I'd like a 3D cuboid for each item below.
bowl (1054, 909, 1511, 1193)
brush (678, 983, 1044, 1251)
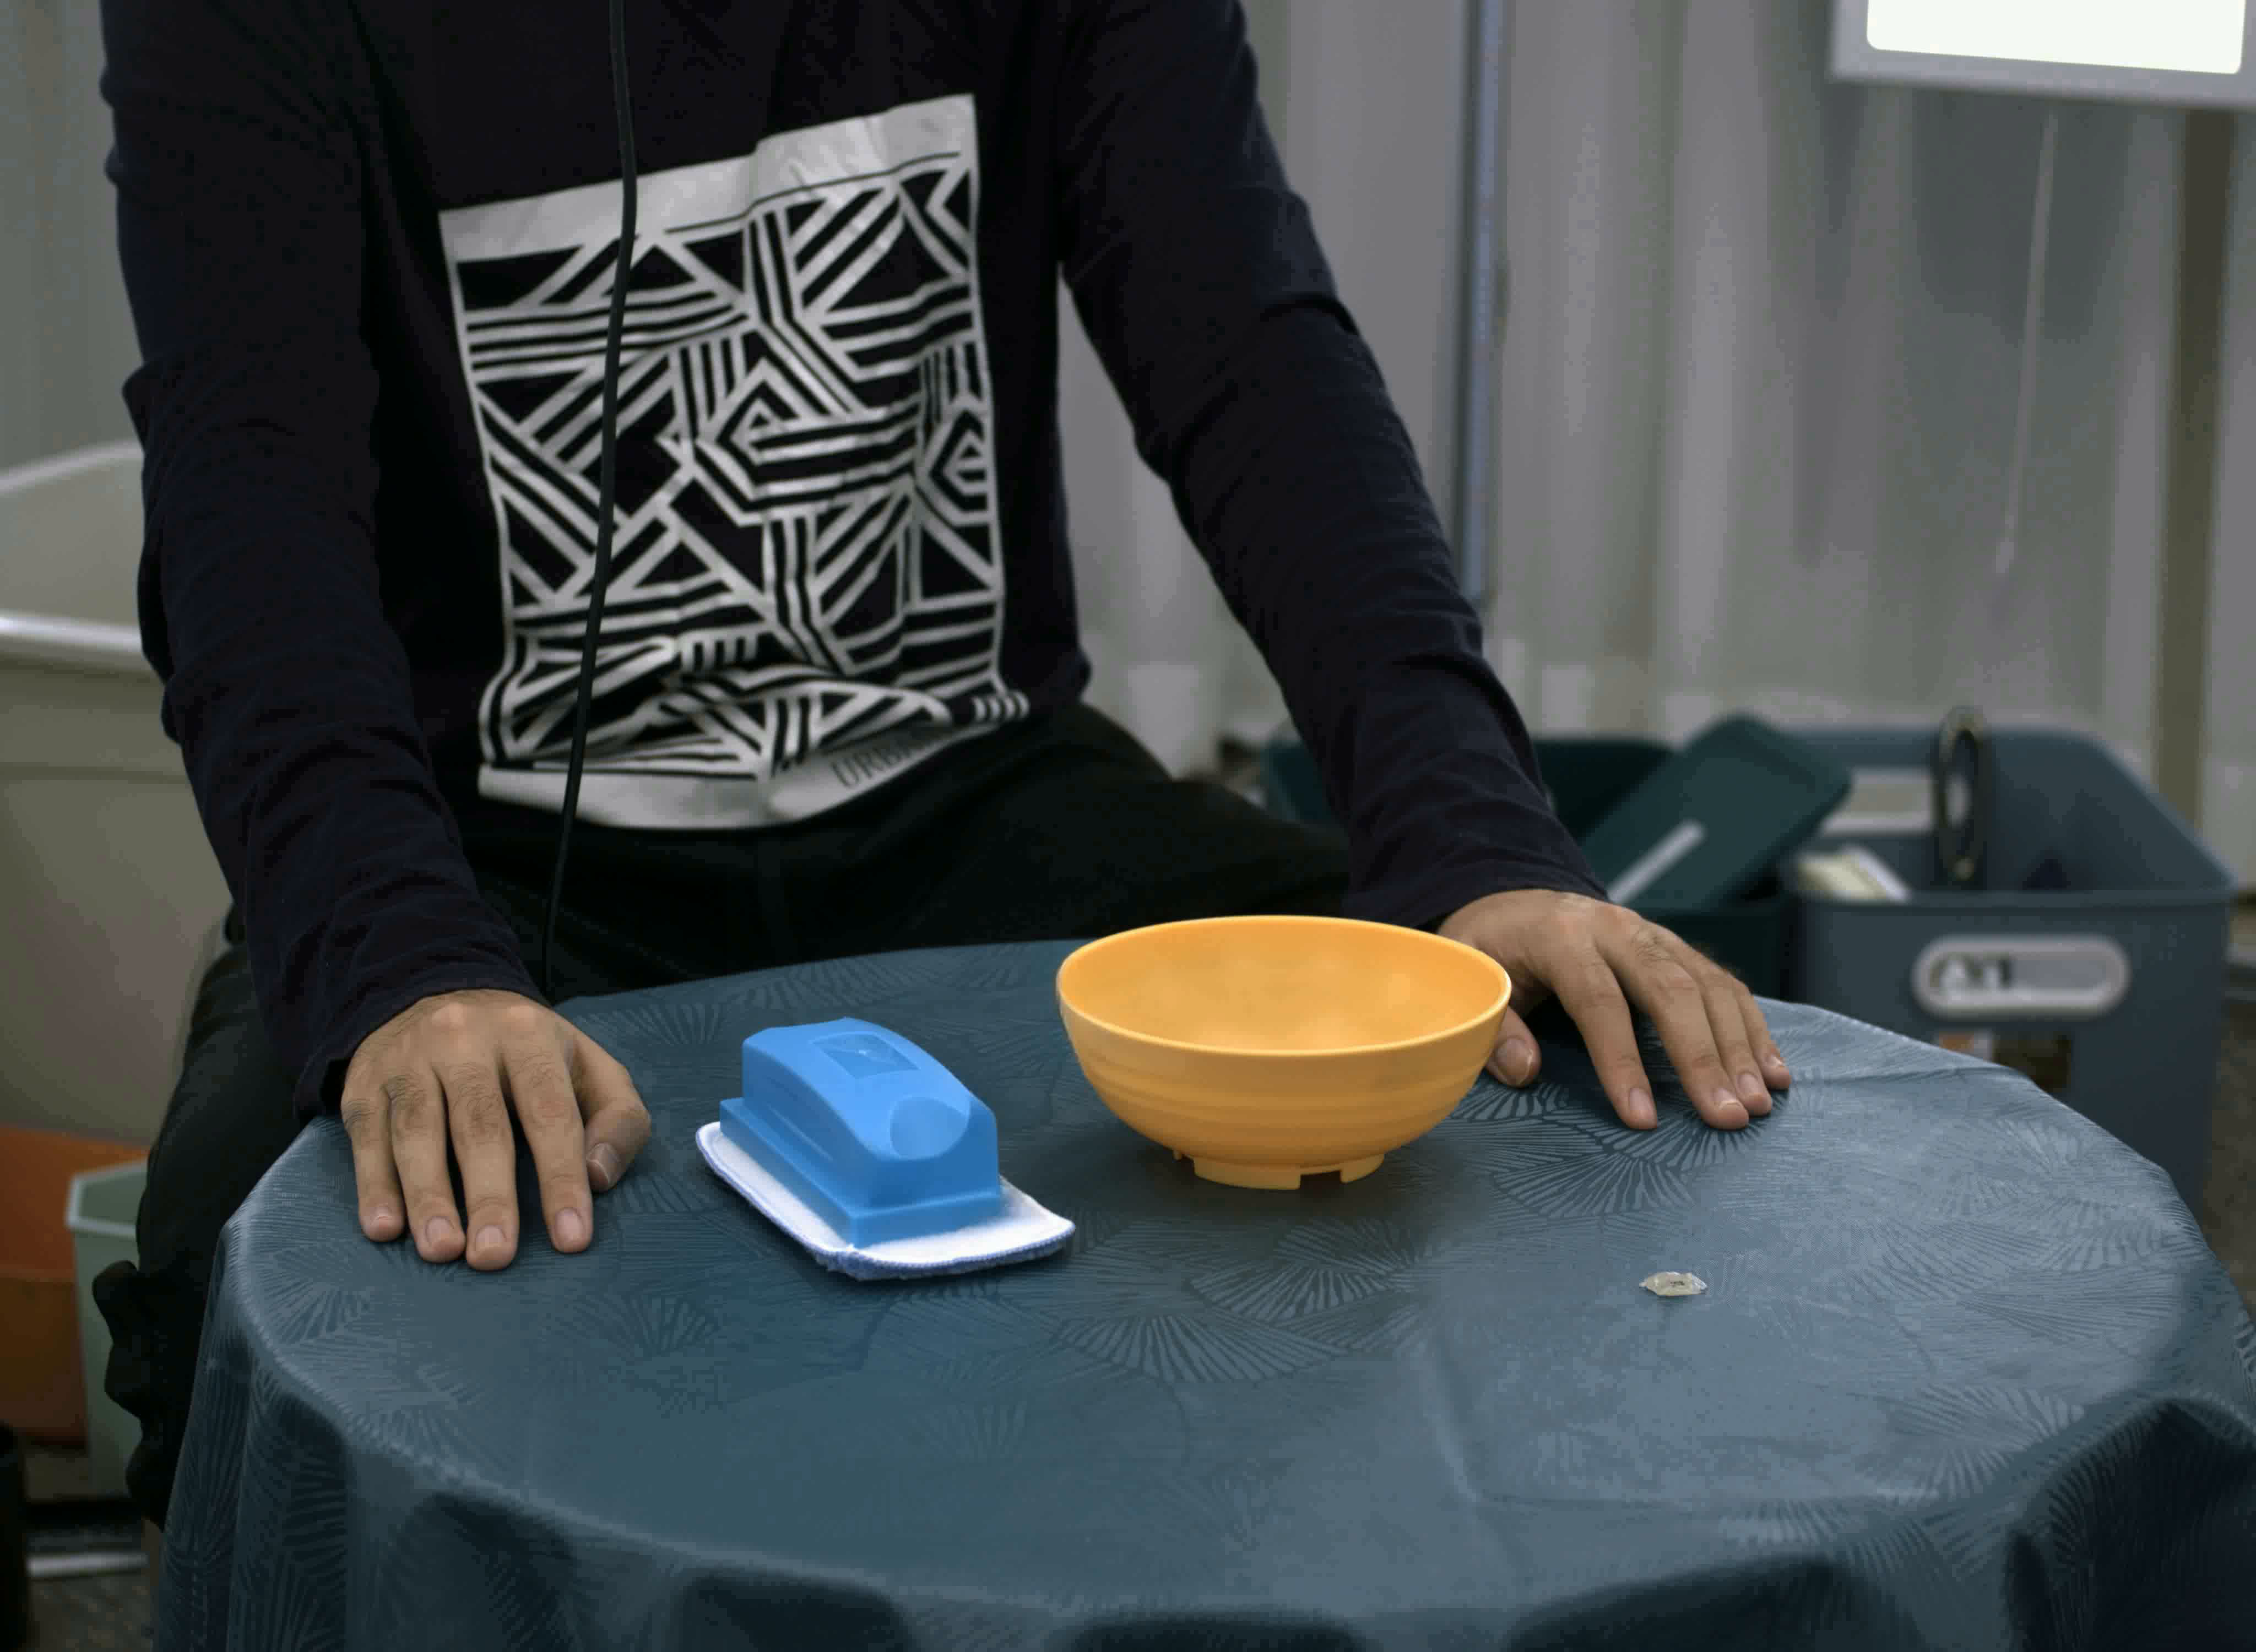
[{"bbox_3d":[0.048,0.076,1.652,0.145,0.060,0.144,2,17,0],"label":"bowl"},{"bbox_3d":[-0.080,0.086,1.602,0.084,0.056,0.142,-2,18,-22],"label":"brush"}]
